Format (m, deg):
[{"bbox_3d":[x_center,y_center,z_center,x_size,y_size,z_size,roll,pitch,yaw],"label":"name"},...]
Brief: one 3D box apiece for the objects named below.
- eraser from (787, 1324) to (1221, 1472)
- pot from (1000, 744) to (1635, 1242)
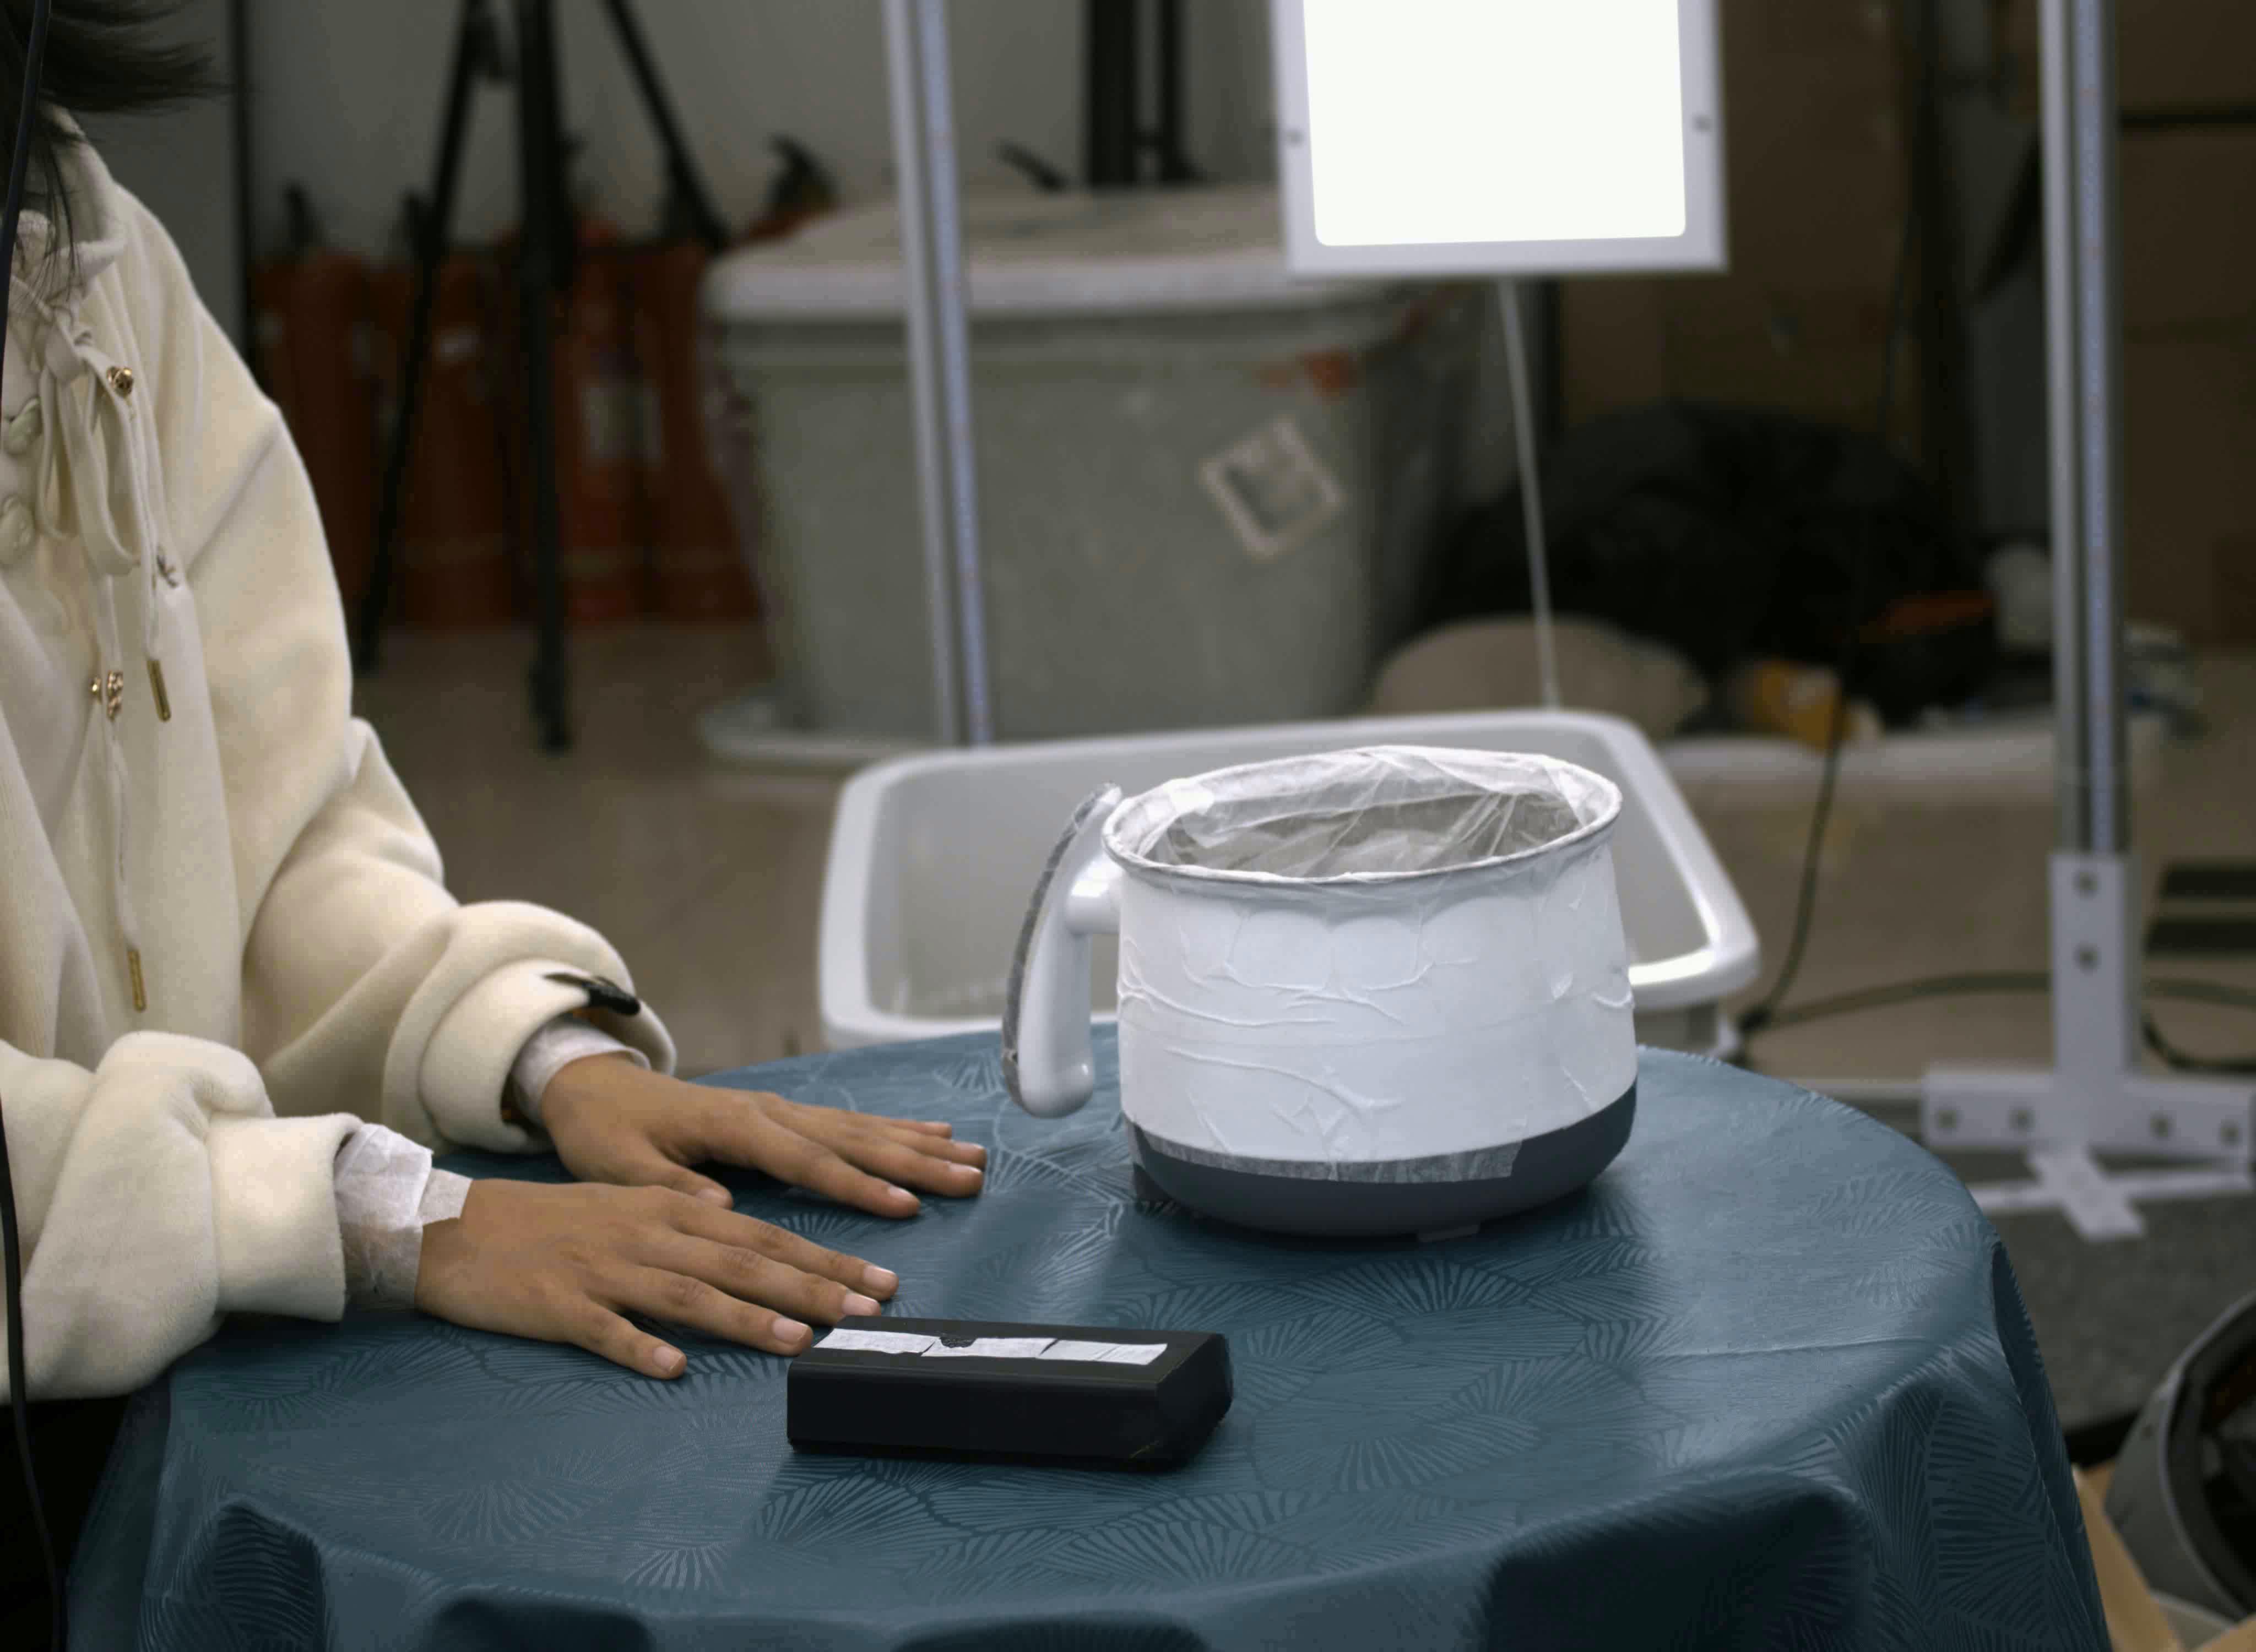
[{"bbox_3d":[-0.036,0.172,1.668,0.127,0.030,0.052,0,14,24],"label":"eraser"},{"bbox_3d":[0.059,0.054,1.880,0.238,0.137,0.175,4,16,30],"label":"pot"}]
